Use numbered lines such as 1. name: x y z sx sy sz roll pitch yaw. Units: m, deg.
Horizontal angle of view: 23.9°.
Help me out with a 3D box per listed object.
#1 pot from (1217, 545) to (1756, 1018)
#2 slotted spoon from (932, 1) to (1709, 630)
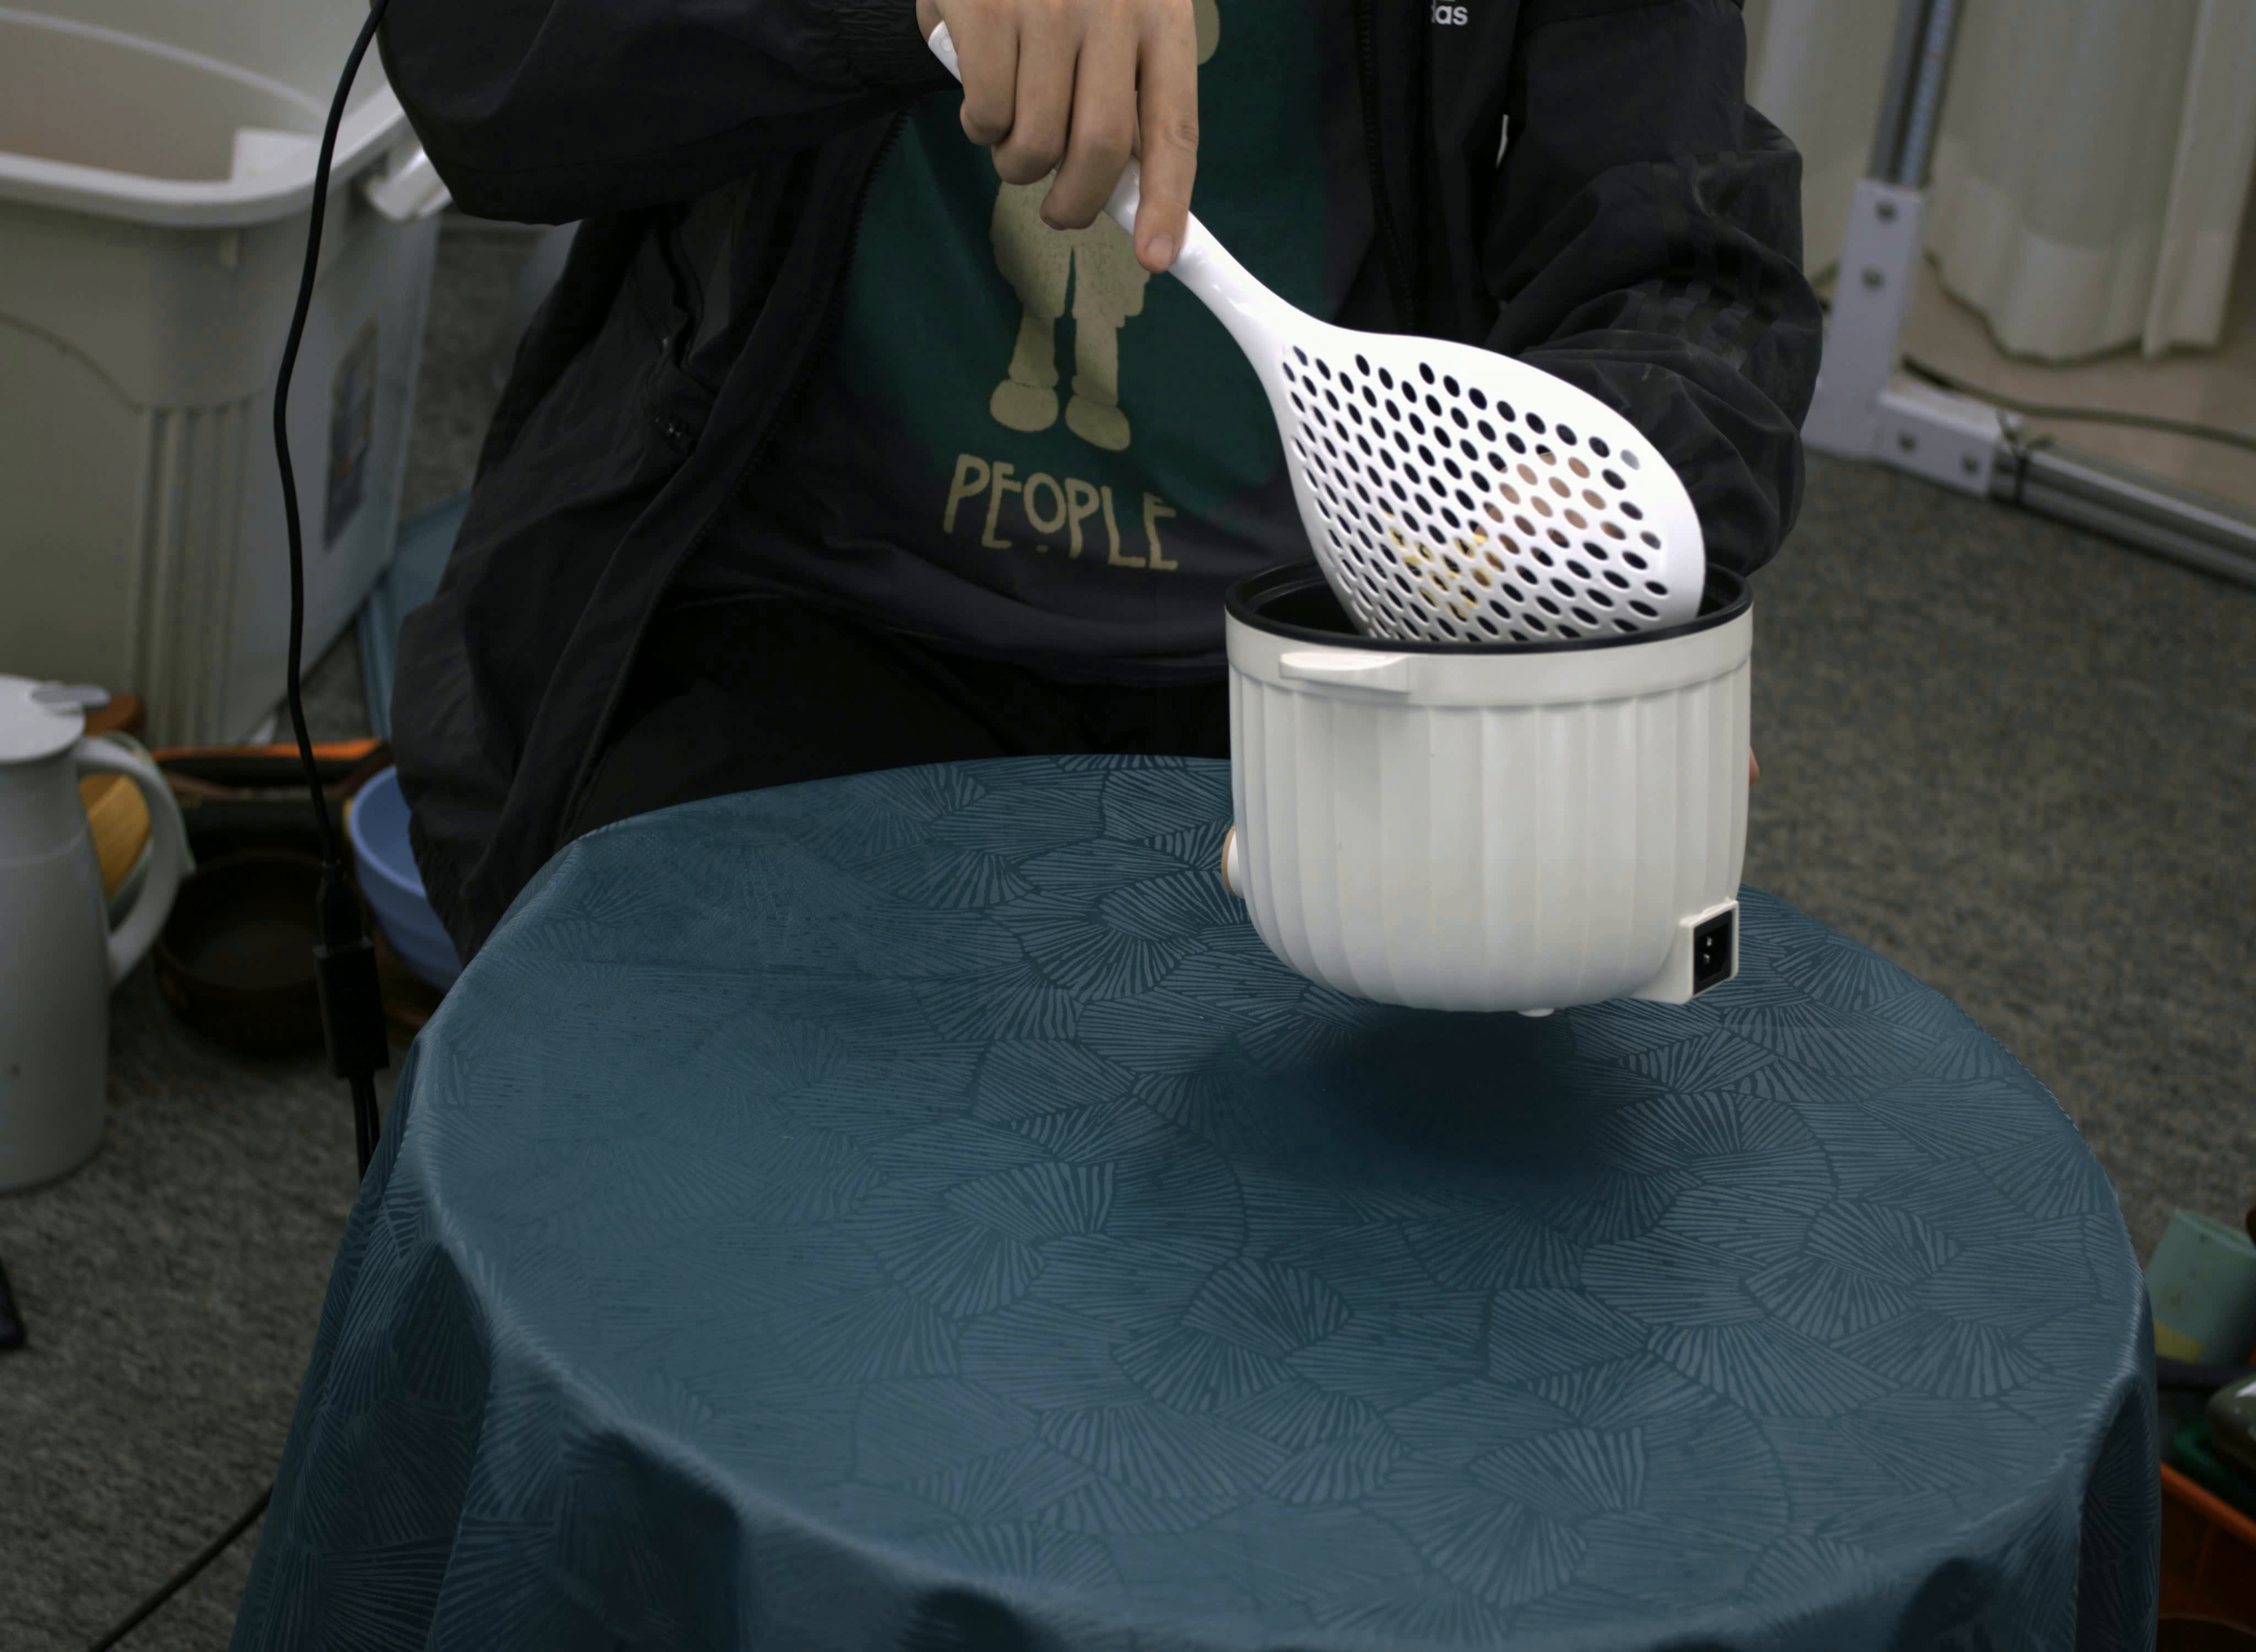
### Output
1. pot: 0.119 -0.017 1.841 0.191 0.142 0.239 11 17 31
2. slotted spoon: 0.054 -0.164 1.848 0.350 0.136 0.050 47 33 18
